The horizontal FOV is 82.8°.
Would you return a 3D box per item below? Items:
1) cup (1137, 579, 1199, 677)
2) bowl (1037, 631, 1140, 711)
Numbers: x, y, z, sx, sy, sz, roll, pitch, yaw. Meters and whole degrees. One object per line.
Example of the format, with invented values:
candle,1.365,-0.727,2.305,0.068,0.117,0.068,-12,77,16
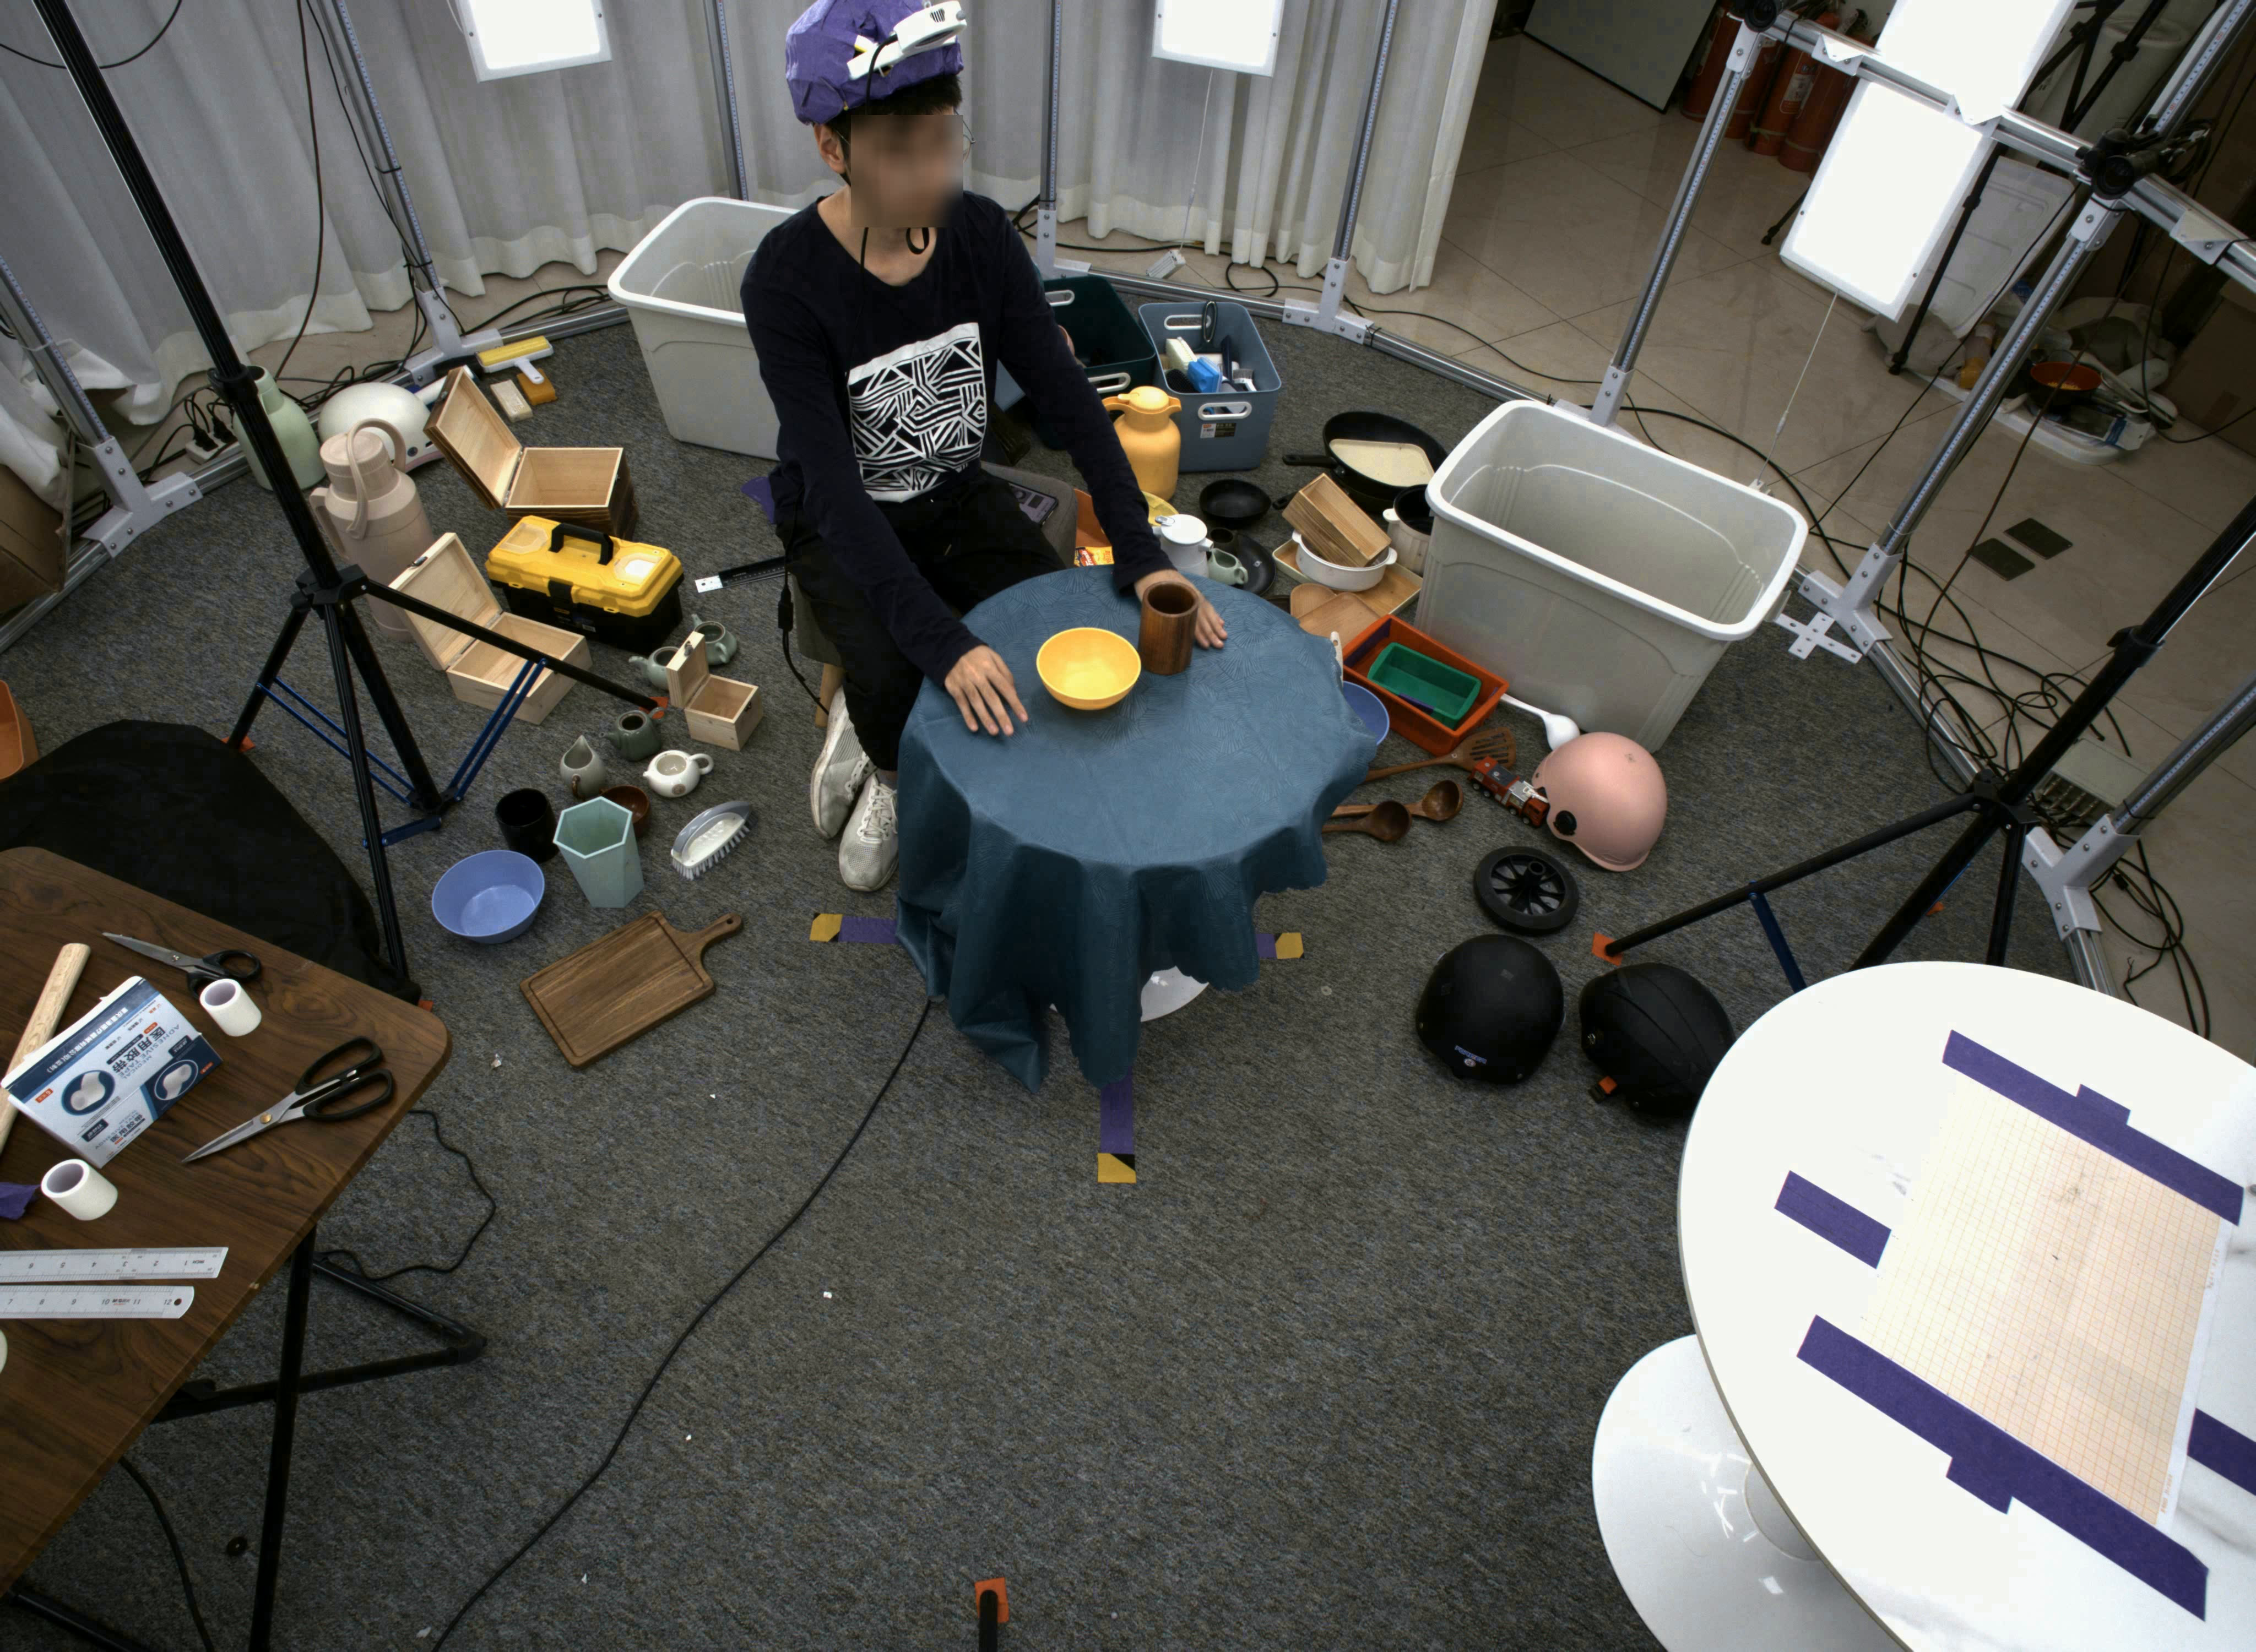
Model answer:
cup,0.056,-0.284,1.843,0.087,0.115,0.090,3,47,-3
bowl,-0.057,-0.207,1.807,0.145,0.058,0.149,2,46,-2
